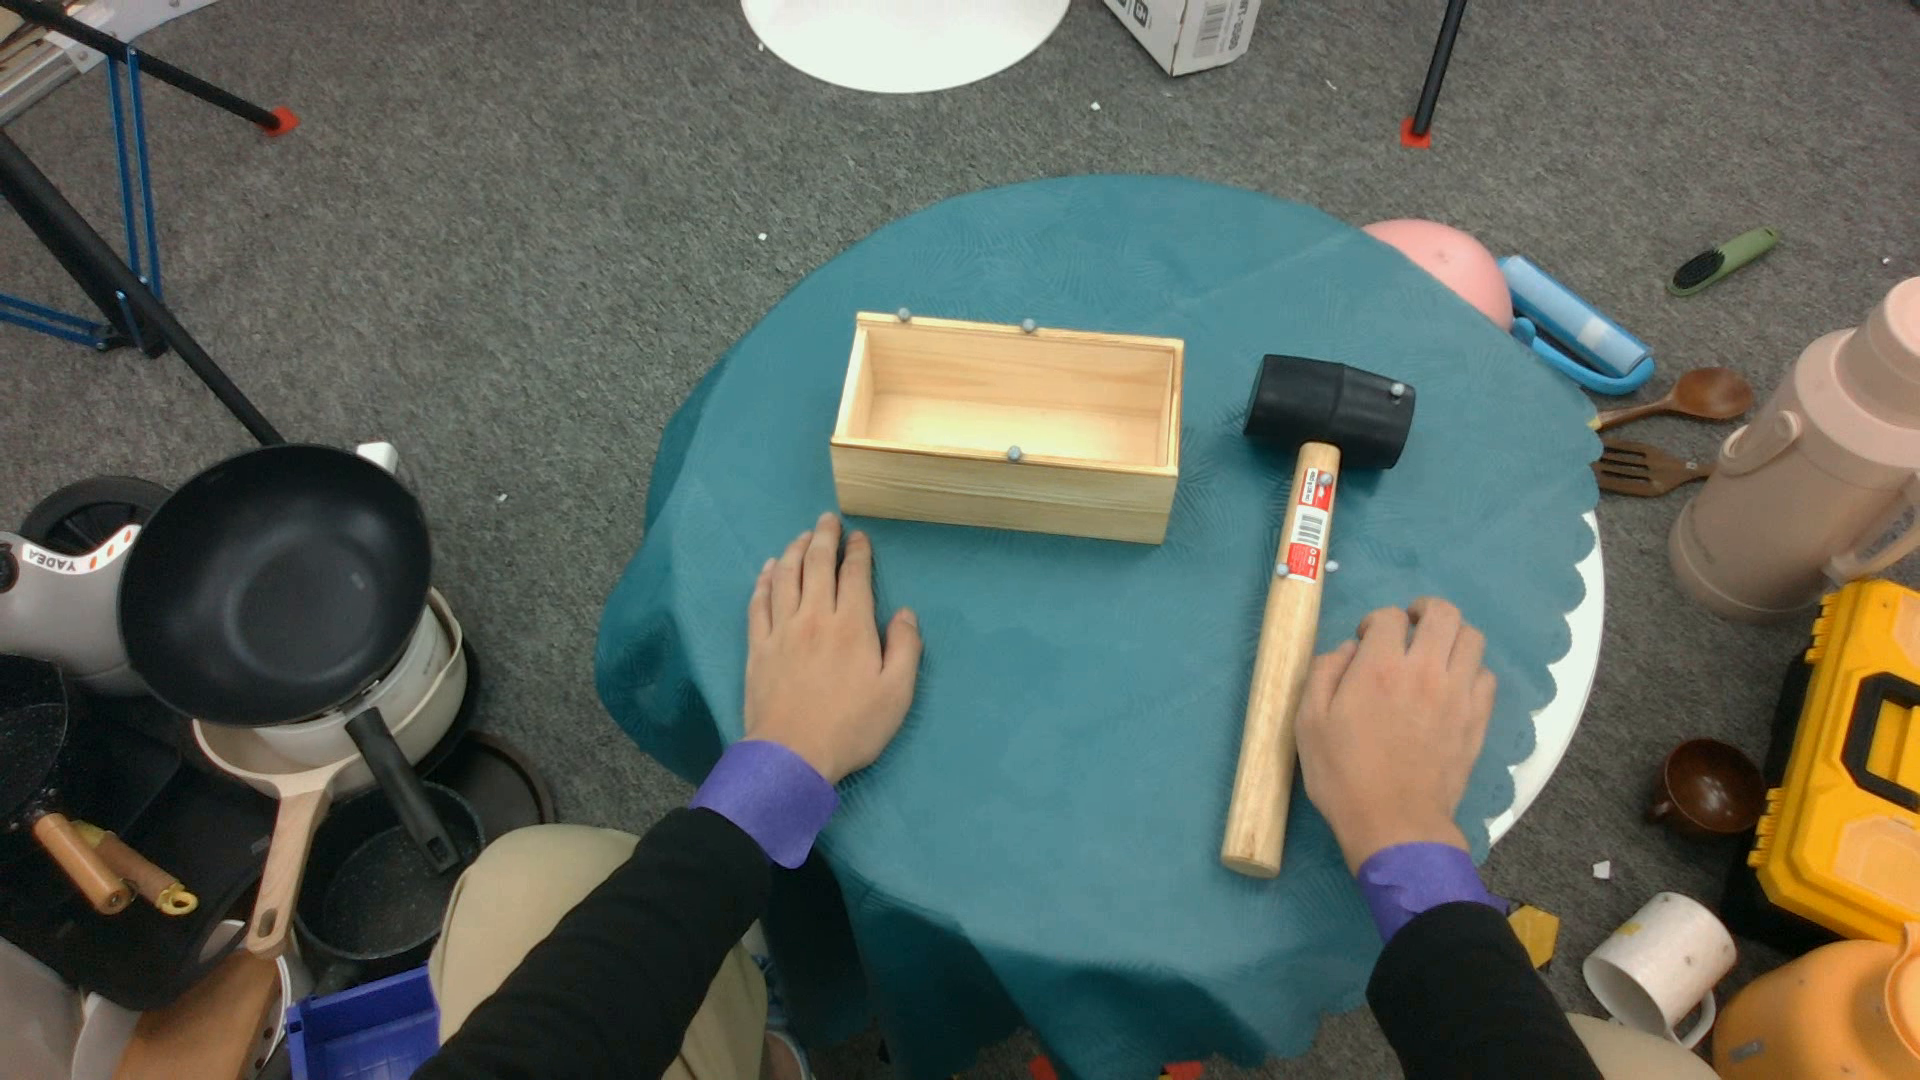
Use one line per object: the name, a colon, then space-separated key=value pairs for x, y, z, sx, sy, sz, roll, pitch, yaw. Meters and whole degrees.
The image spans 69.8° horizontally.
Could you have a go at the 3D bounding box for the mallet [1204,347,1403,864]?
mallet: x=0.196 y=0.026 z=0.828 sx=0.102 sy=0.064 sz=0.340 roll=13 pitch=60 yaw=9

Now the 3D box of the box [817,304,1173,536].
box: x=0.025 y=-0.077 z=0.881 sx=0.211 sy=0.080 sz=0.108 roll=5 pitch=59 yaw=4
